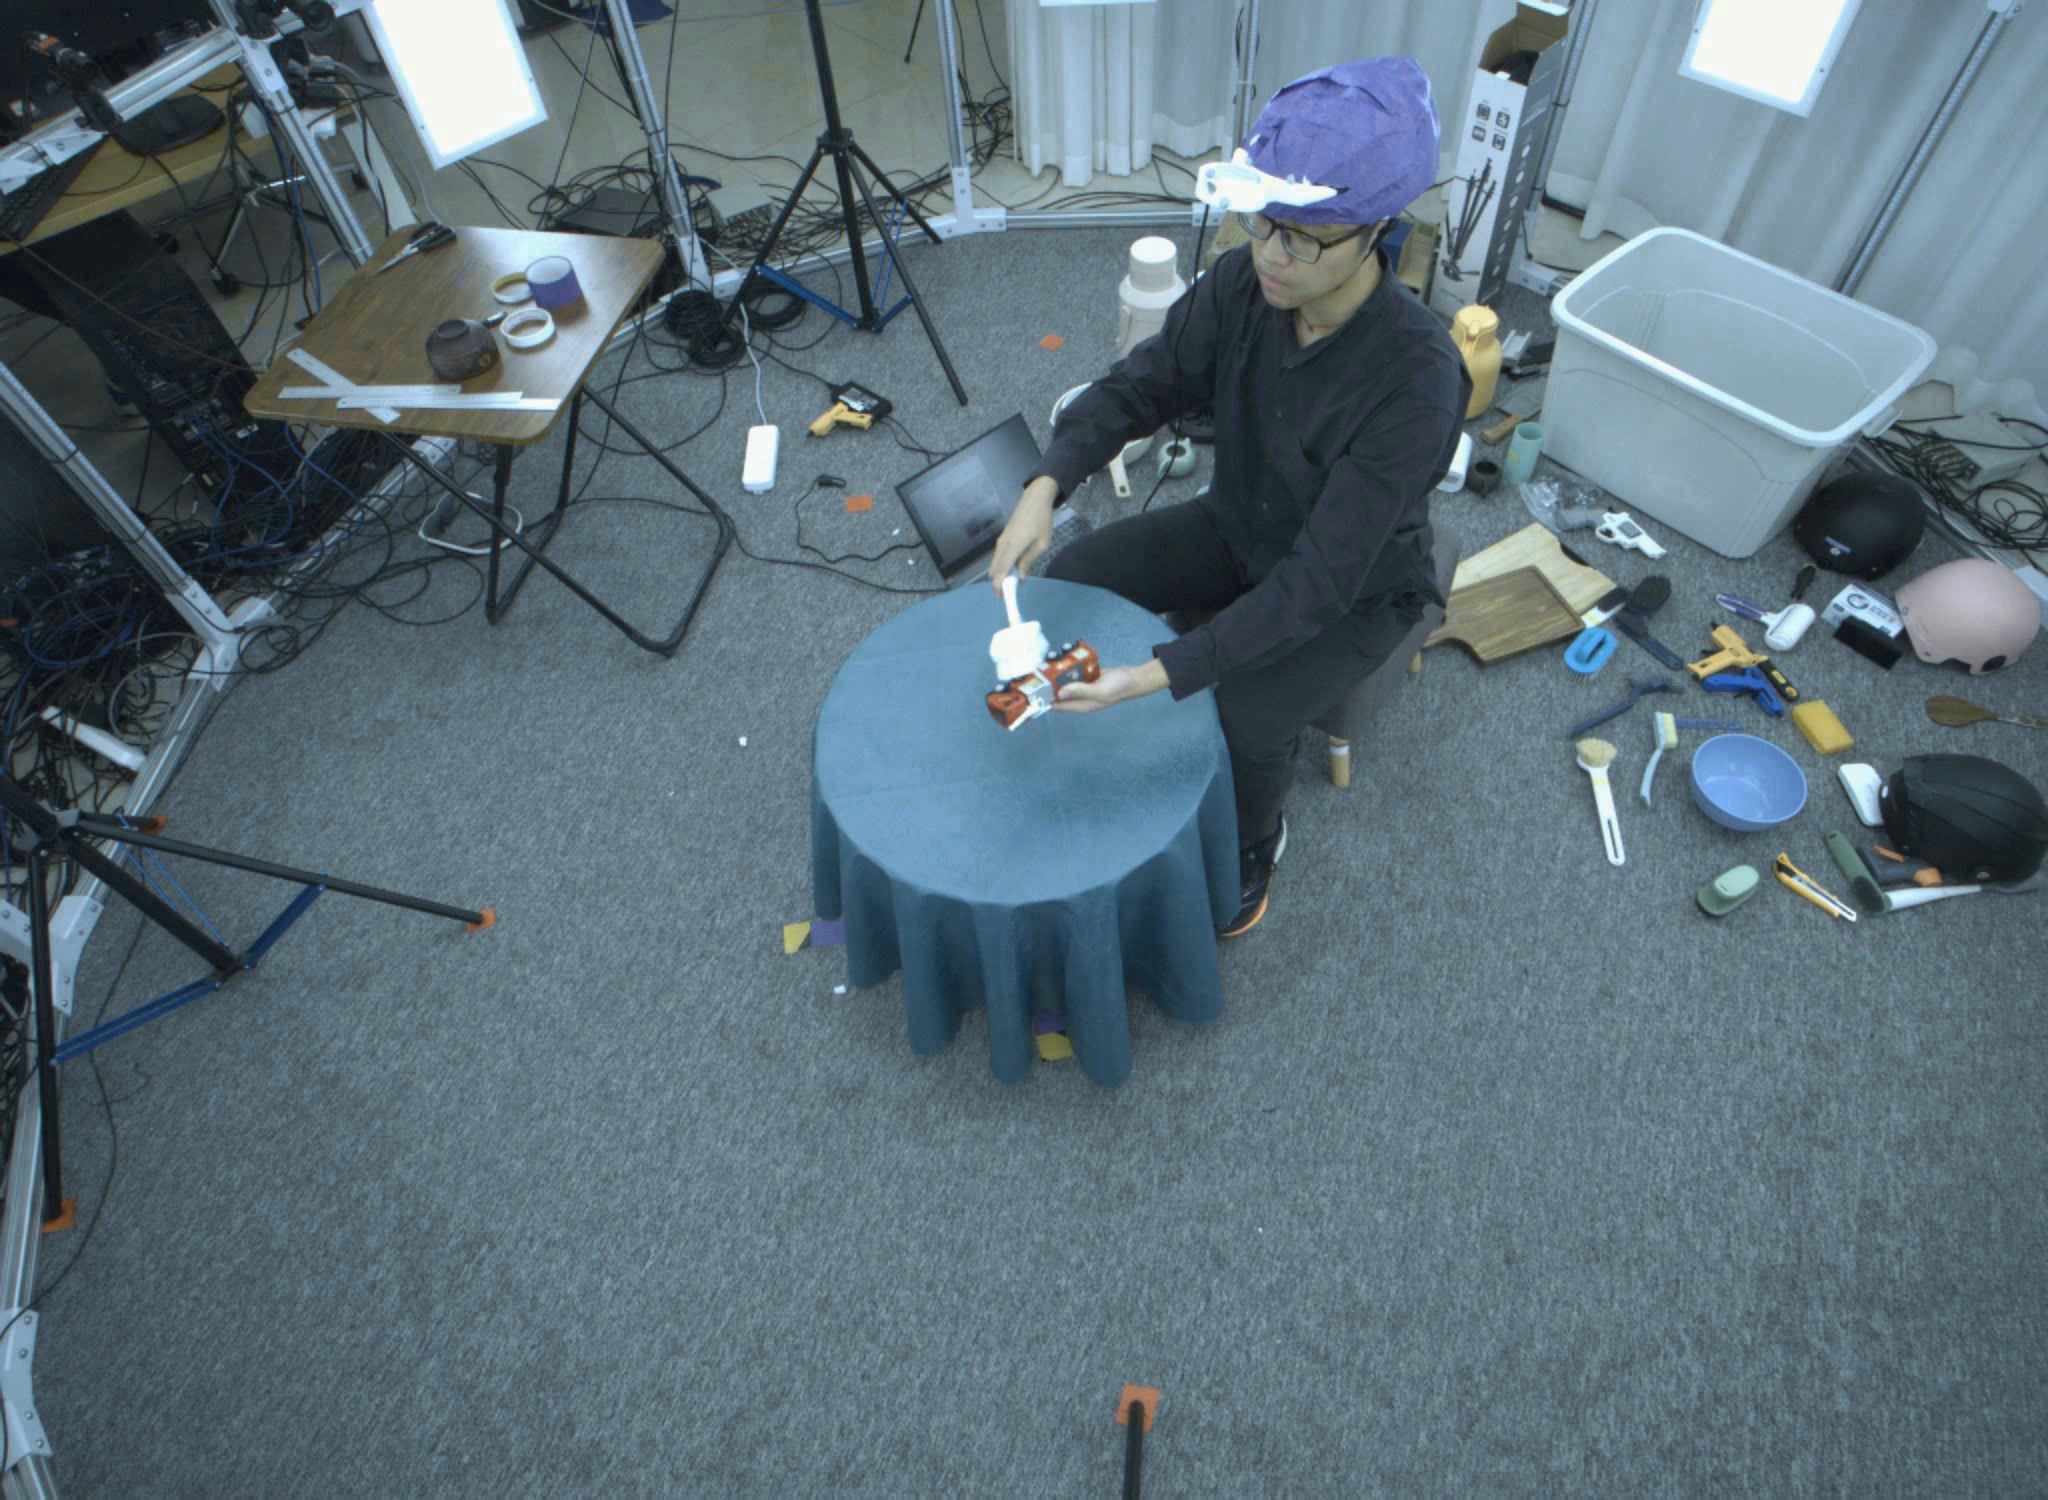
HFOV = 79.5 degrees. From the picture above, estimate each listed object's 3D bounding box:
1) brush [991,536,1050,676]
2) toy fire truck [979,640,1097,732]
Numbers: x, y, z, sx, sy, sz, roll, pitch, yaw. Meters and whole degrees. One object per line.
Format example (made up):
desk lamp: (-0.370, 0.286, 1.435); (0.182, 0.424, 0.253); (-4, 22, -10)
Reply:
brush: (-0.002, -0.198, 1.756); (0.084, 0.084, 0.322); (15, 36, -10)
toy fire truck: (0.020, -0.085, 1.644); (0.169, 0.055, 0.068); (-34, 46, -19)
